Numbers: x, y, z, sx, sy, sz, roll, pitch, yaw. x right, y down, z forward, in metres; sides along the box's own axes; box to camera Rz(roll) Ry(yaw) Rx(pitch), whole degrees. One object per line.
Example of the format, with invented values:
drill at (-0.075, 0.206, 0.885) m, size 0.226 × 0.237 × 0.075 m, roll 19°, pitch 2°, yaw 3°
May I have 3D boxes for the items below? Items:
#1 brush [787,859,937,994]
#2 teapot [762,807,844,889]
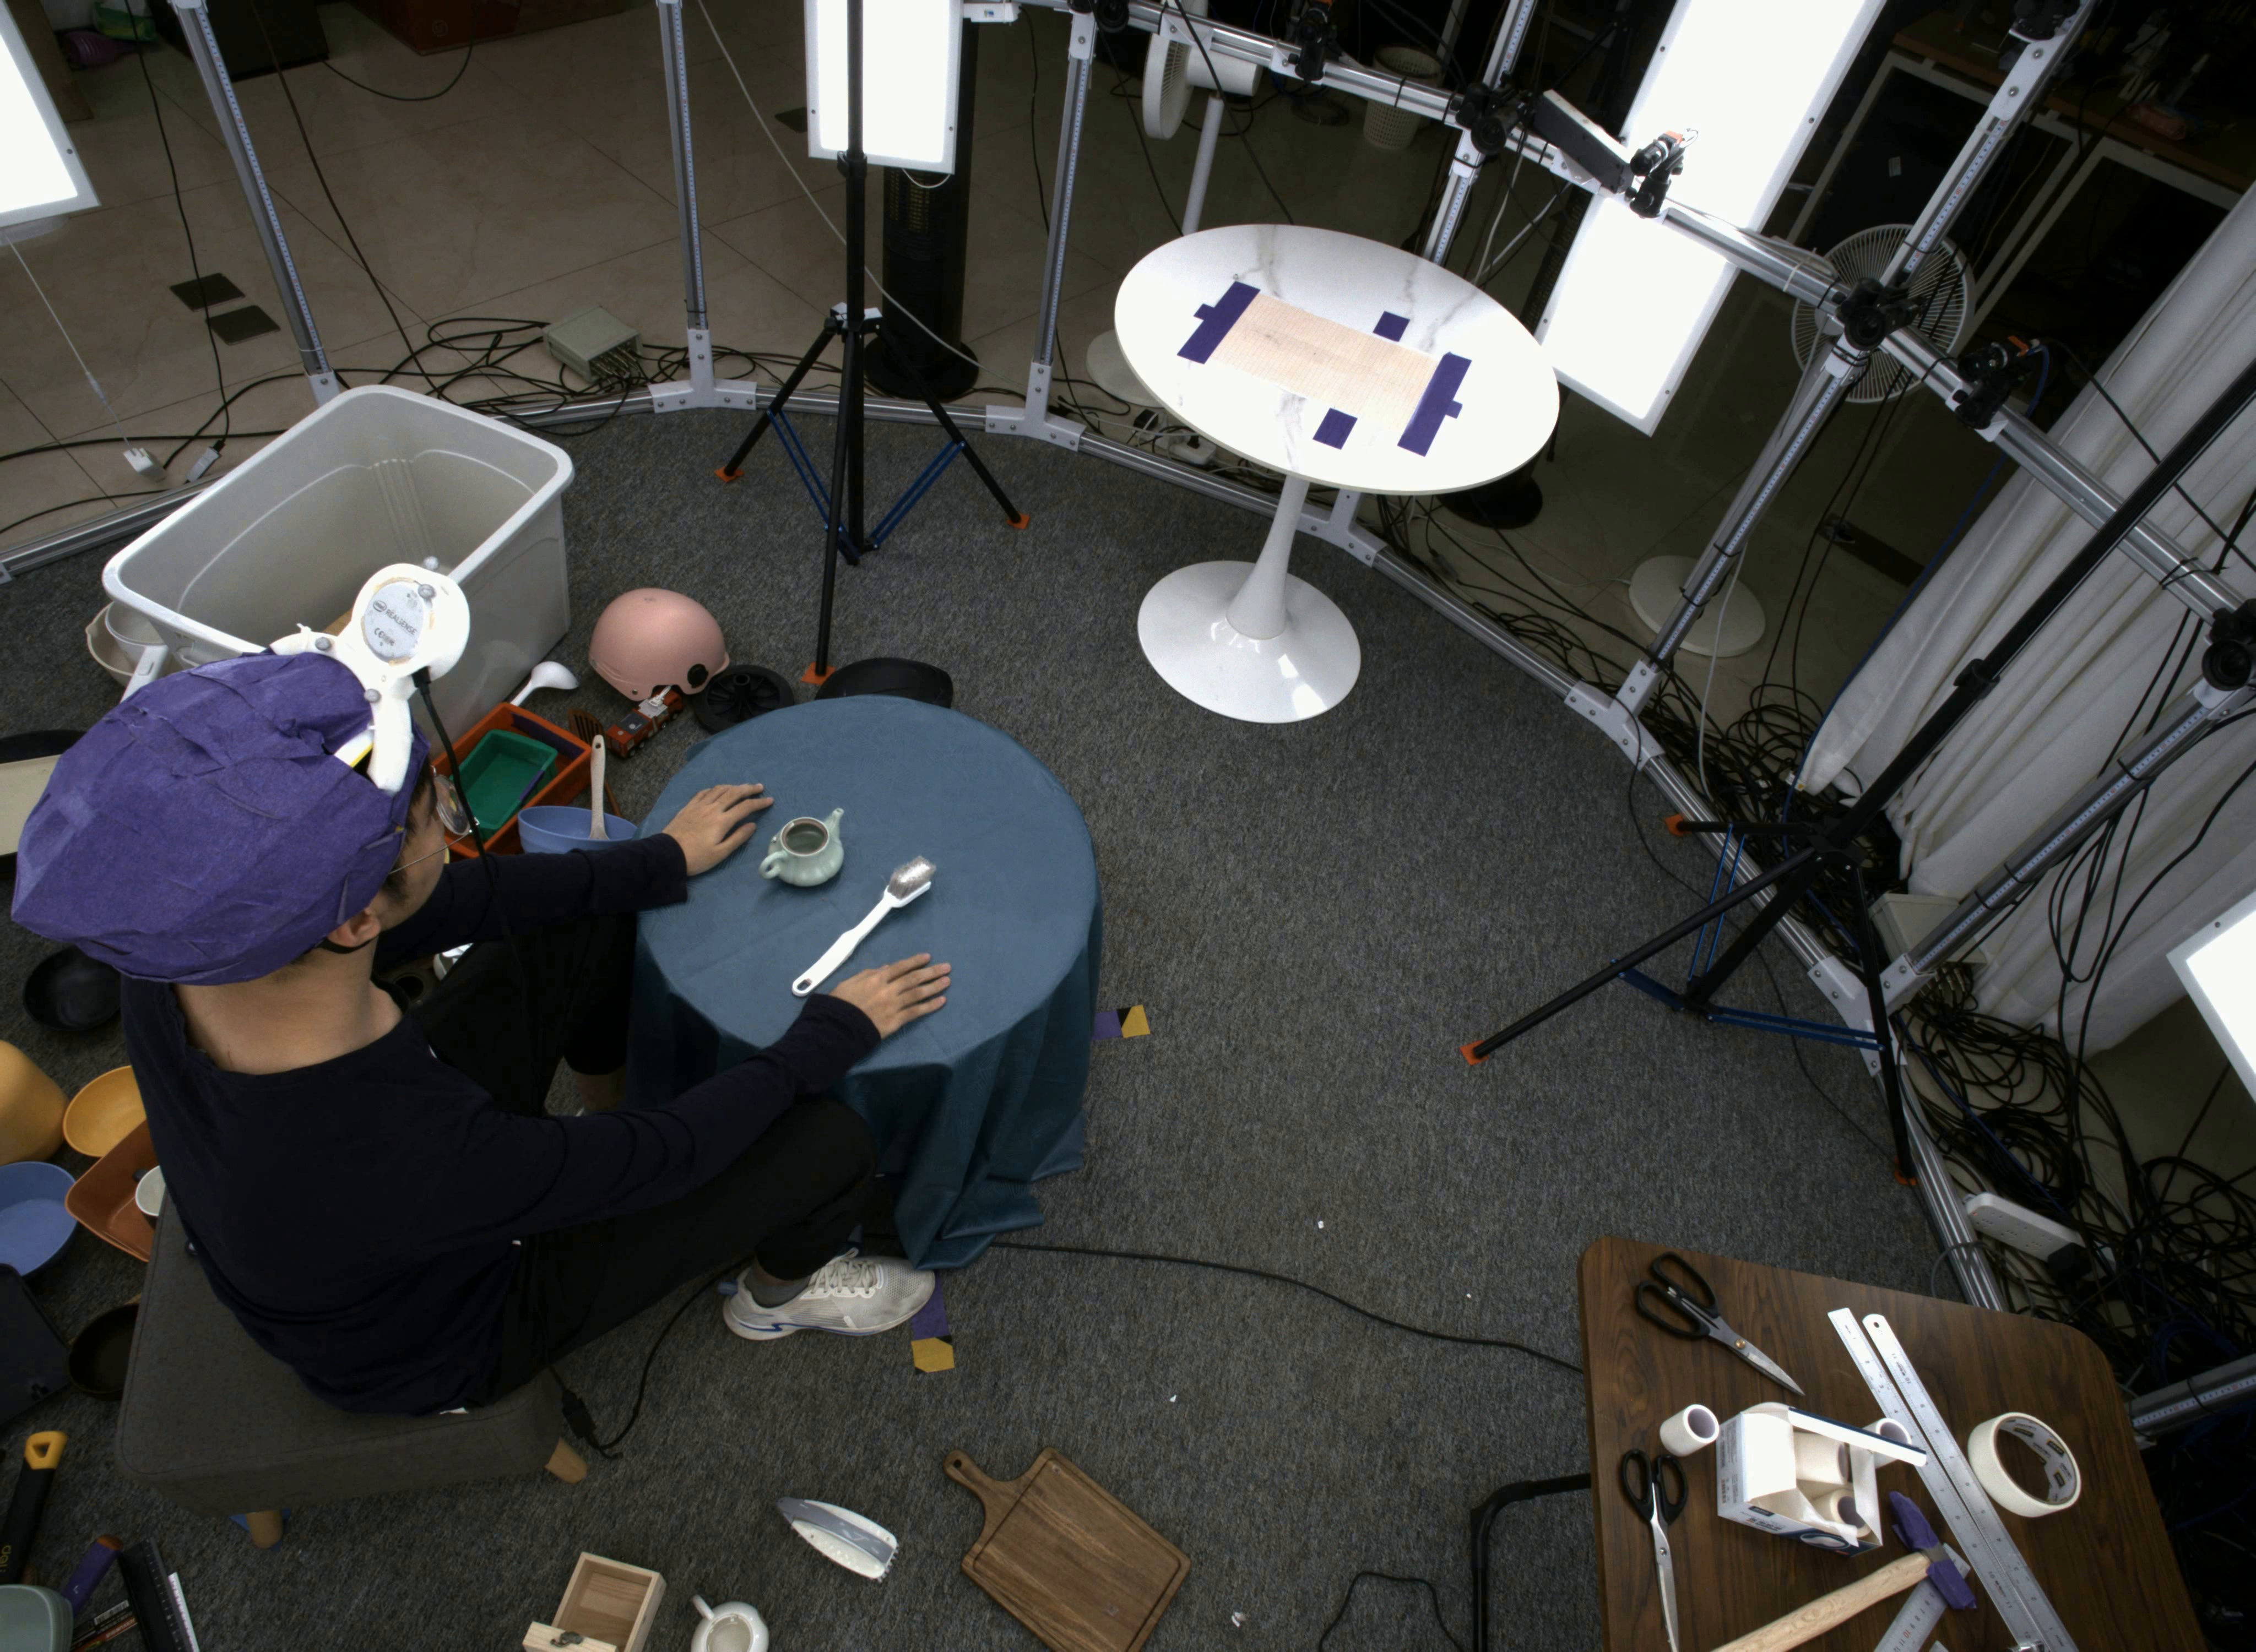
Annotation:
brush at (-0.332, 0.120, 1.629) m, size 0.034 × 0.051 × 0.244 m, roll 39°, pitch 54°, yaw 13°
teapot at (-0.418, 0.032, 1.665) m, size 0.094 × 0.062 × 0.137 m, roll 38°, pitch 54°, yaw 13°
